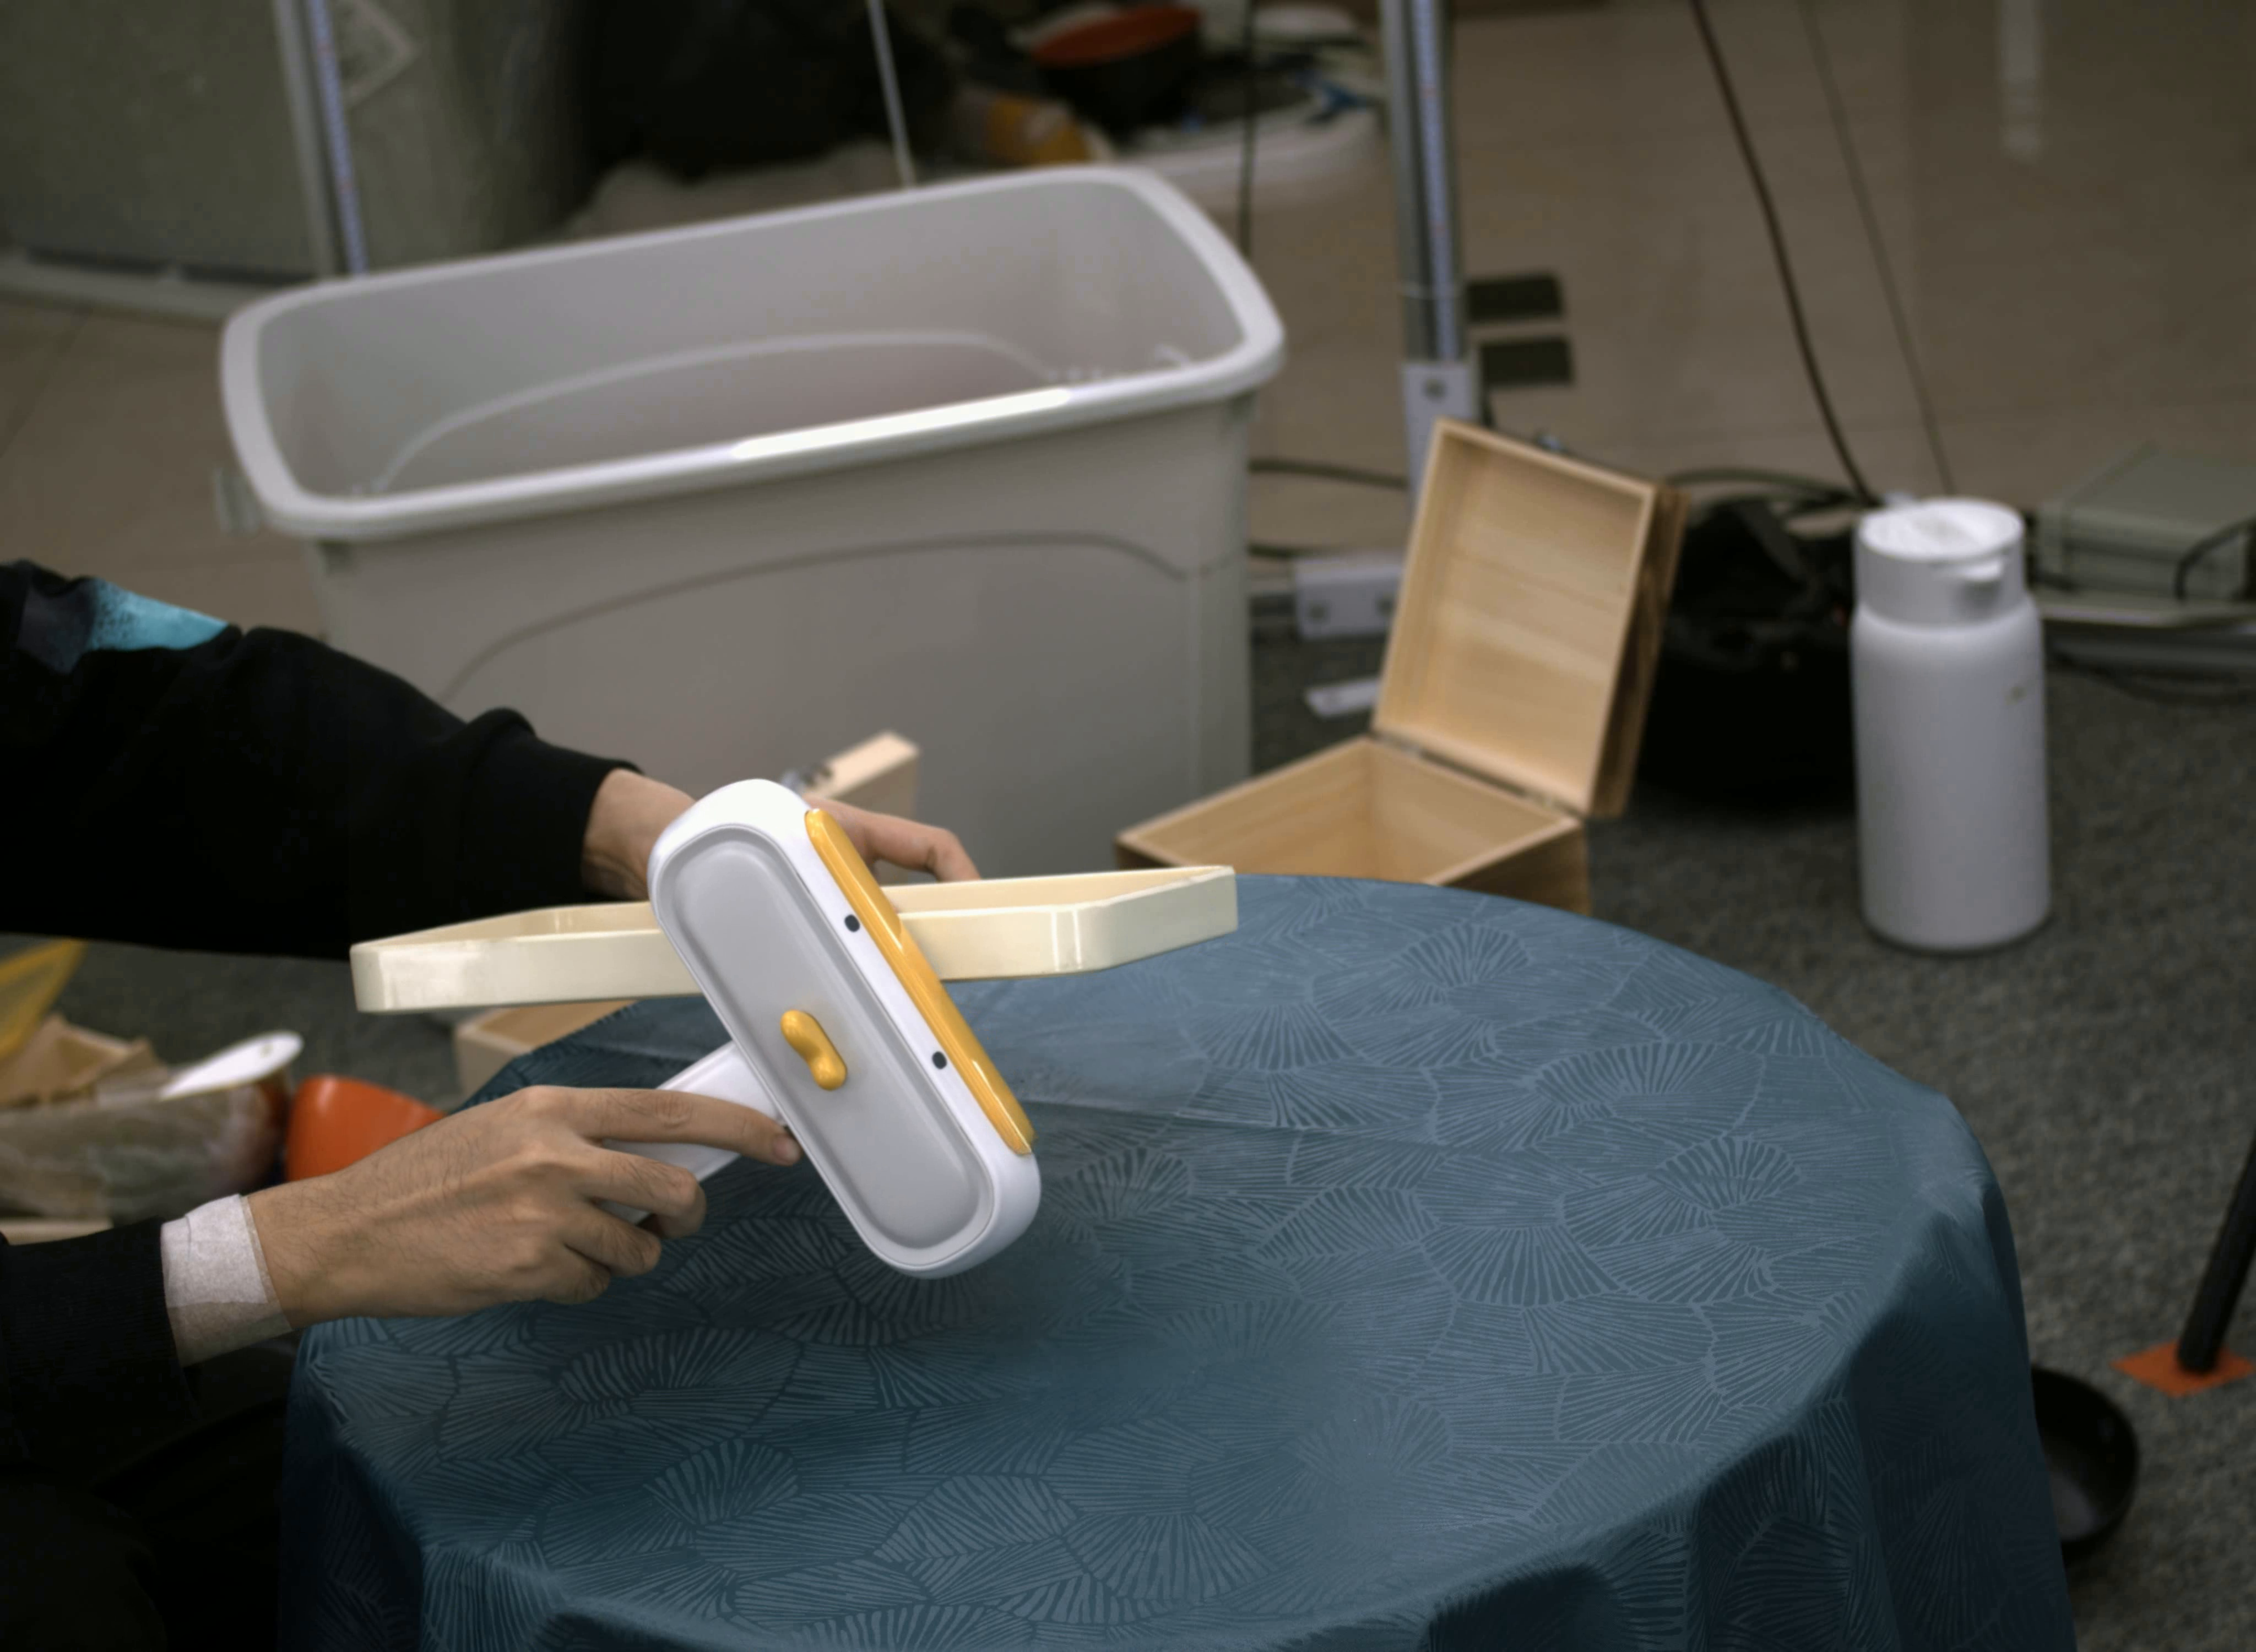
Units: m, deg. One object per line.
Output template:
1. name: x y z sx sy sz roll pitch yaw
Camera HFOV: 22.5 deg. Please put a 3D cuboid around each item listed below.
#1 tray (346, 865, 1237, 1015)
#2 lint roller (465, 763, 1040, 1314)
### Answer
1. tray: -0.124 0.043 2.137 0.300 0.027 0.191 -3 3 19
2. lint roller: -0.151 0.102 2.011 0.193 0.194 0.073 -36 8 9
